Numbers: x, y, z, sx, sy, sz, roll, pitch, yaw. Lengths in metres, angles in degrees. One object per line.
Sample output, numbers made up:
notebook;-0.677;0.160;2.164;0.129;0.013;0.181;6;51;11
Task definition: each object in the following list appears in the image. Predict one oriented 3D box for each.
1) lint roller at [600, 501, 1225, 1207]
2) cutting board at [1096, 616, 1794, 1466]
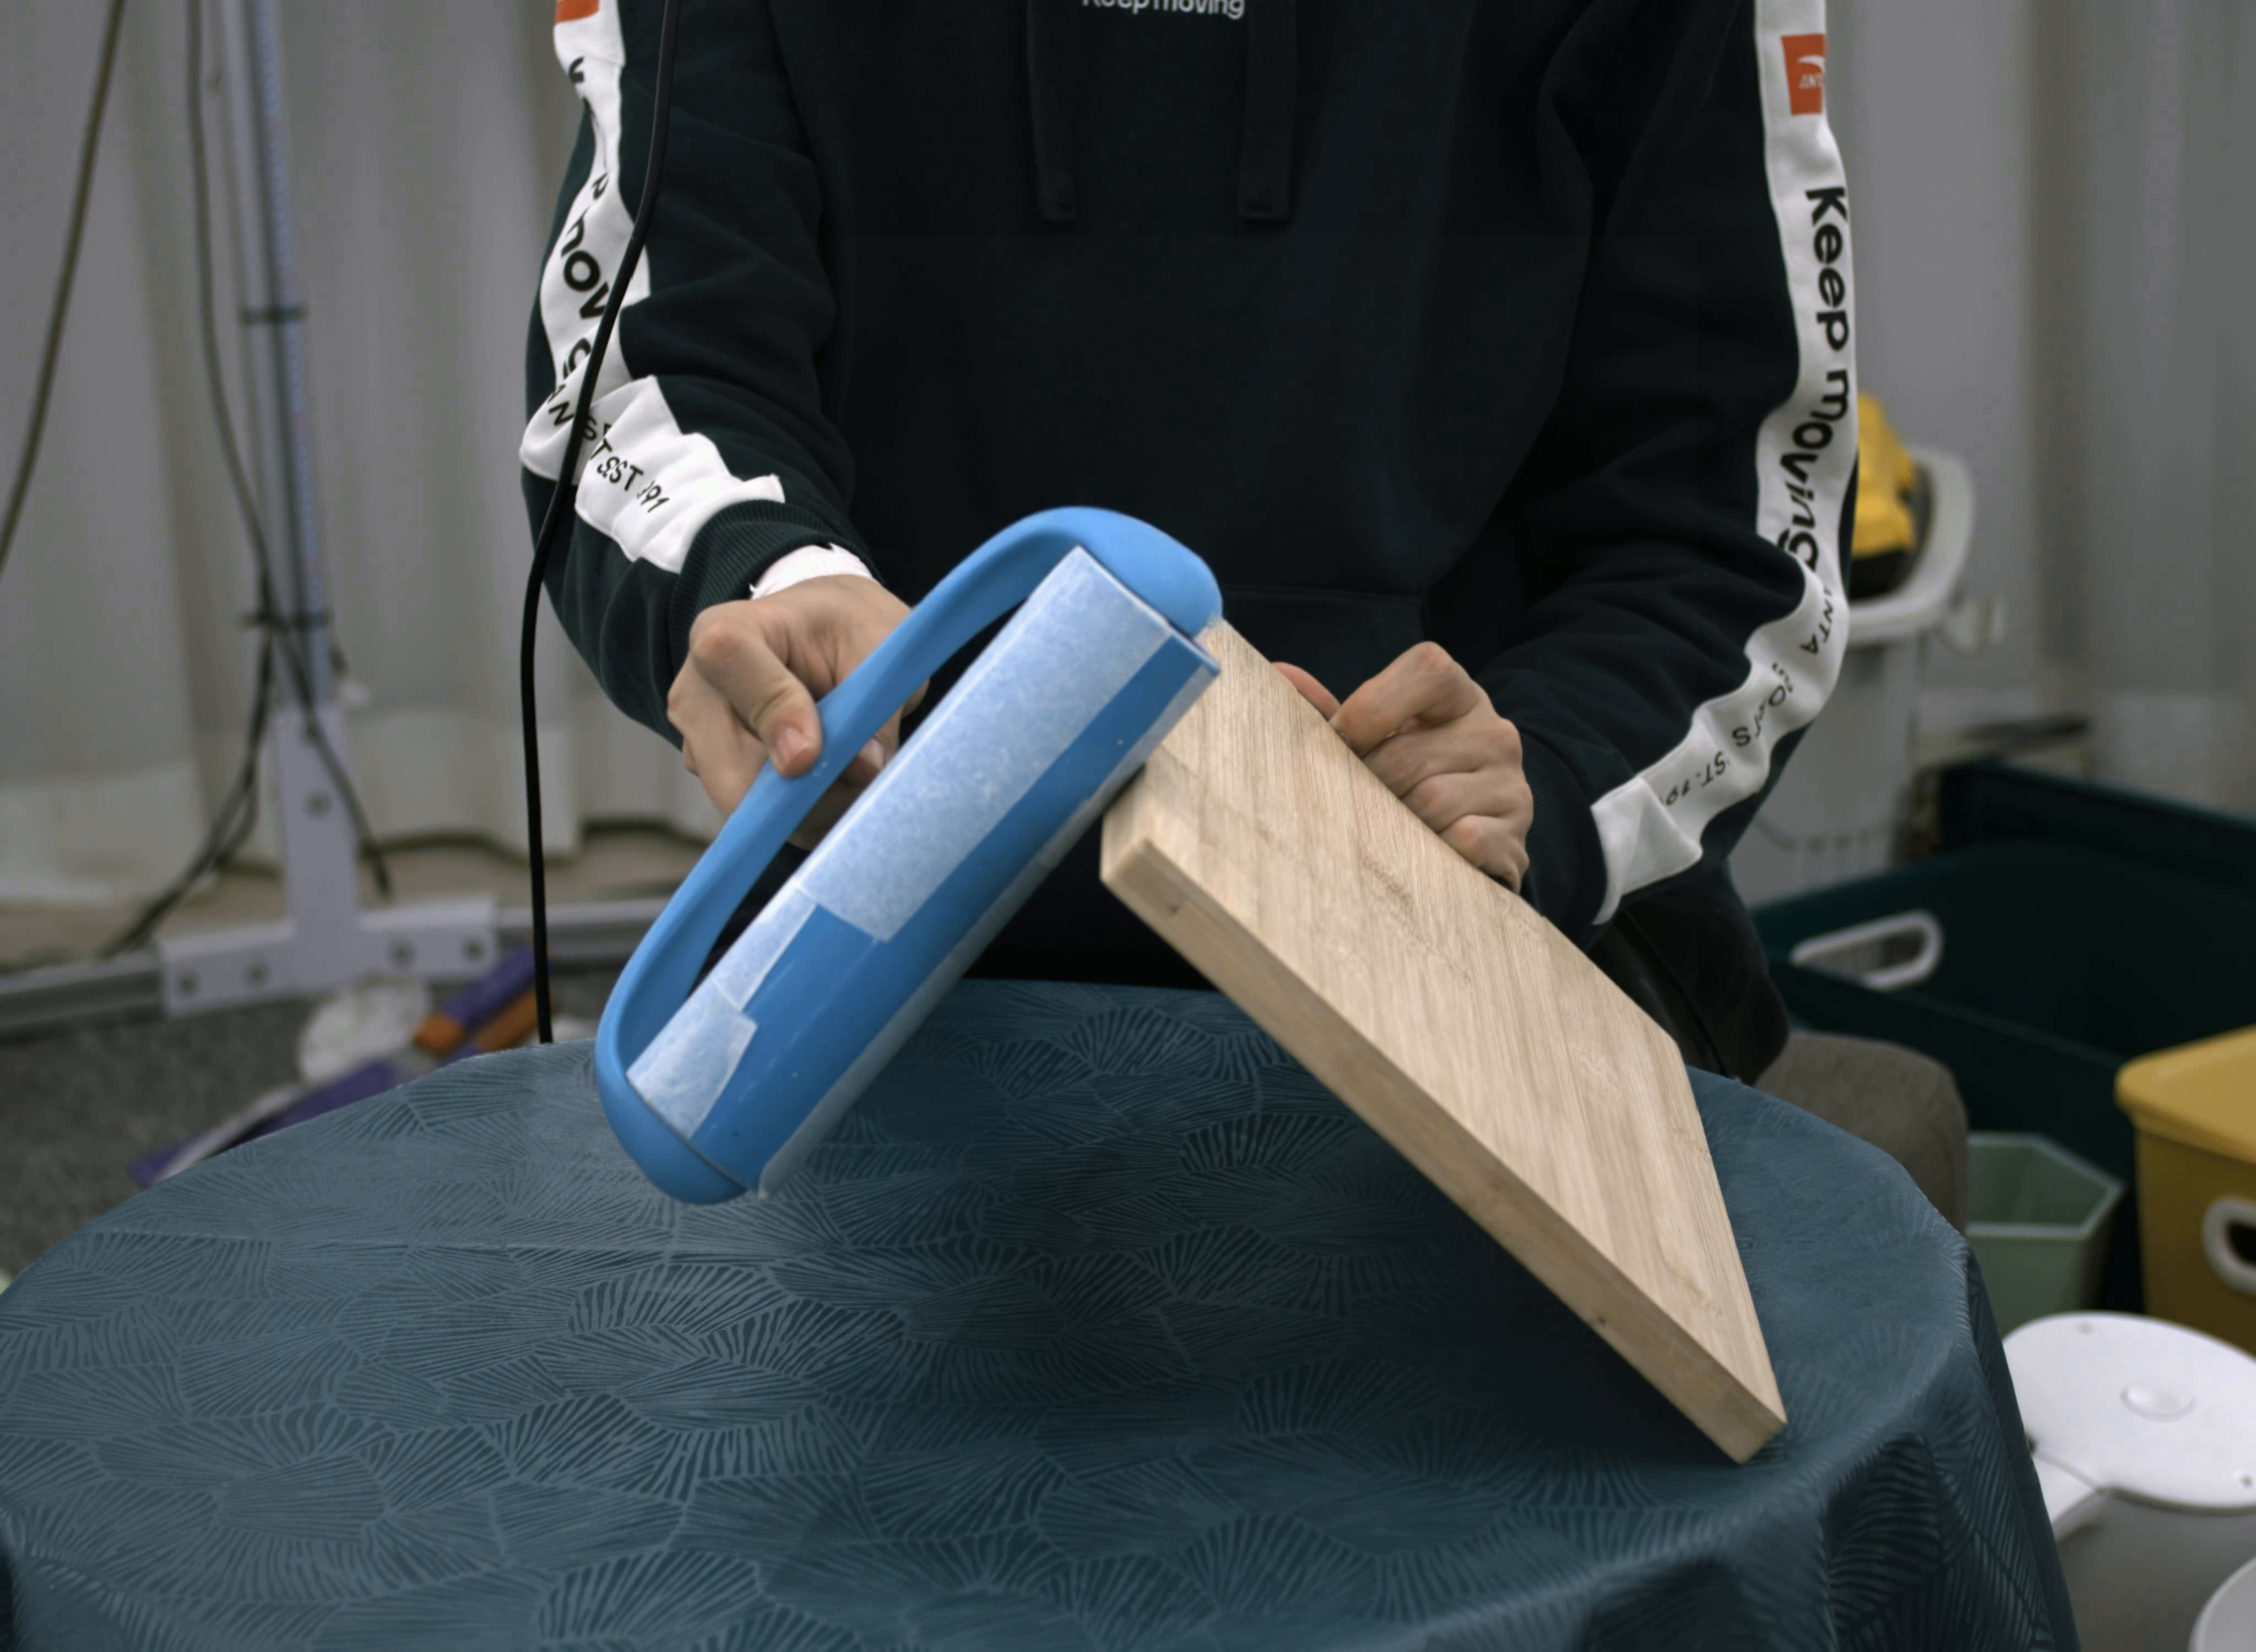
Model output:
lint roller;-0.072;-0.005;1.551;0.067;0.229;0.182;38;1;-22
cutting board;0.086;0.042;1.612;0.023;0.249;0.351;-45;11;11
